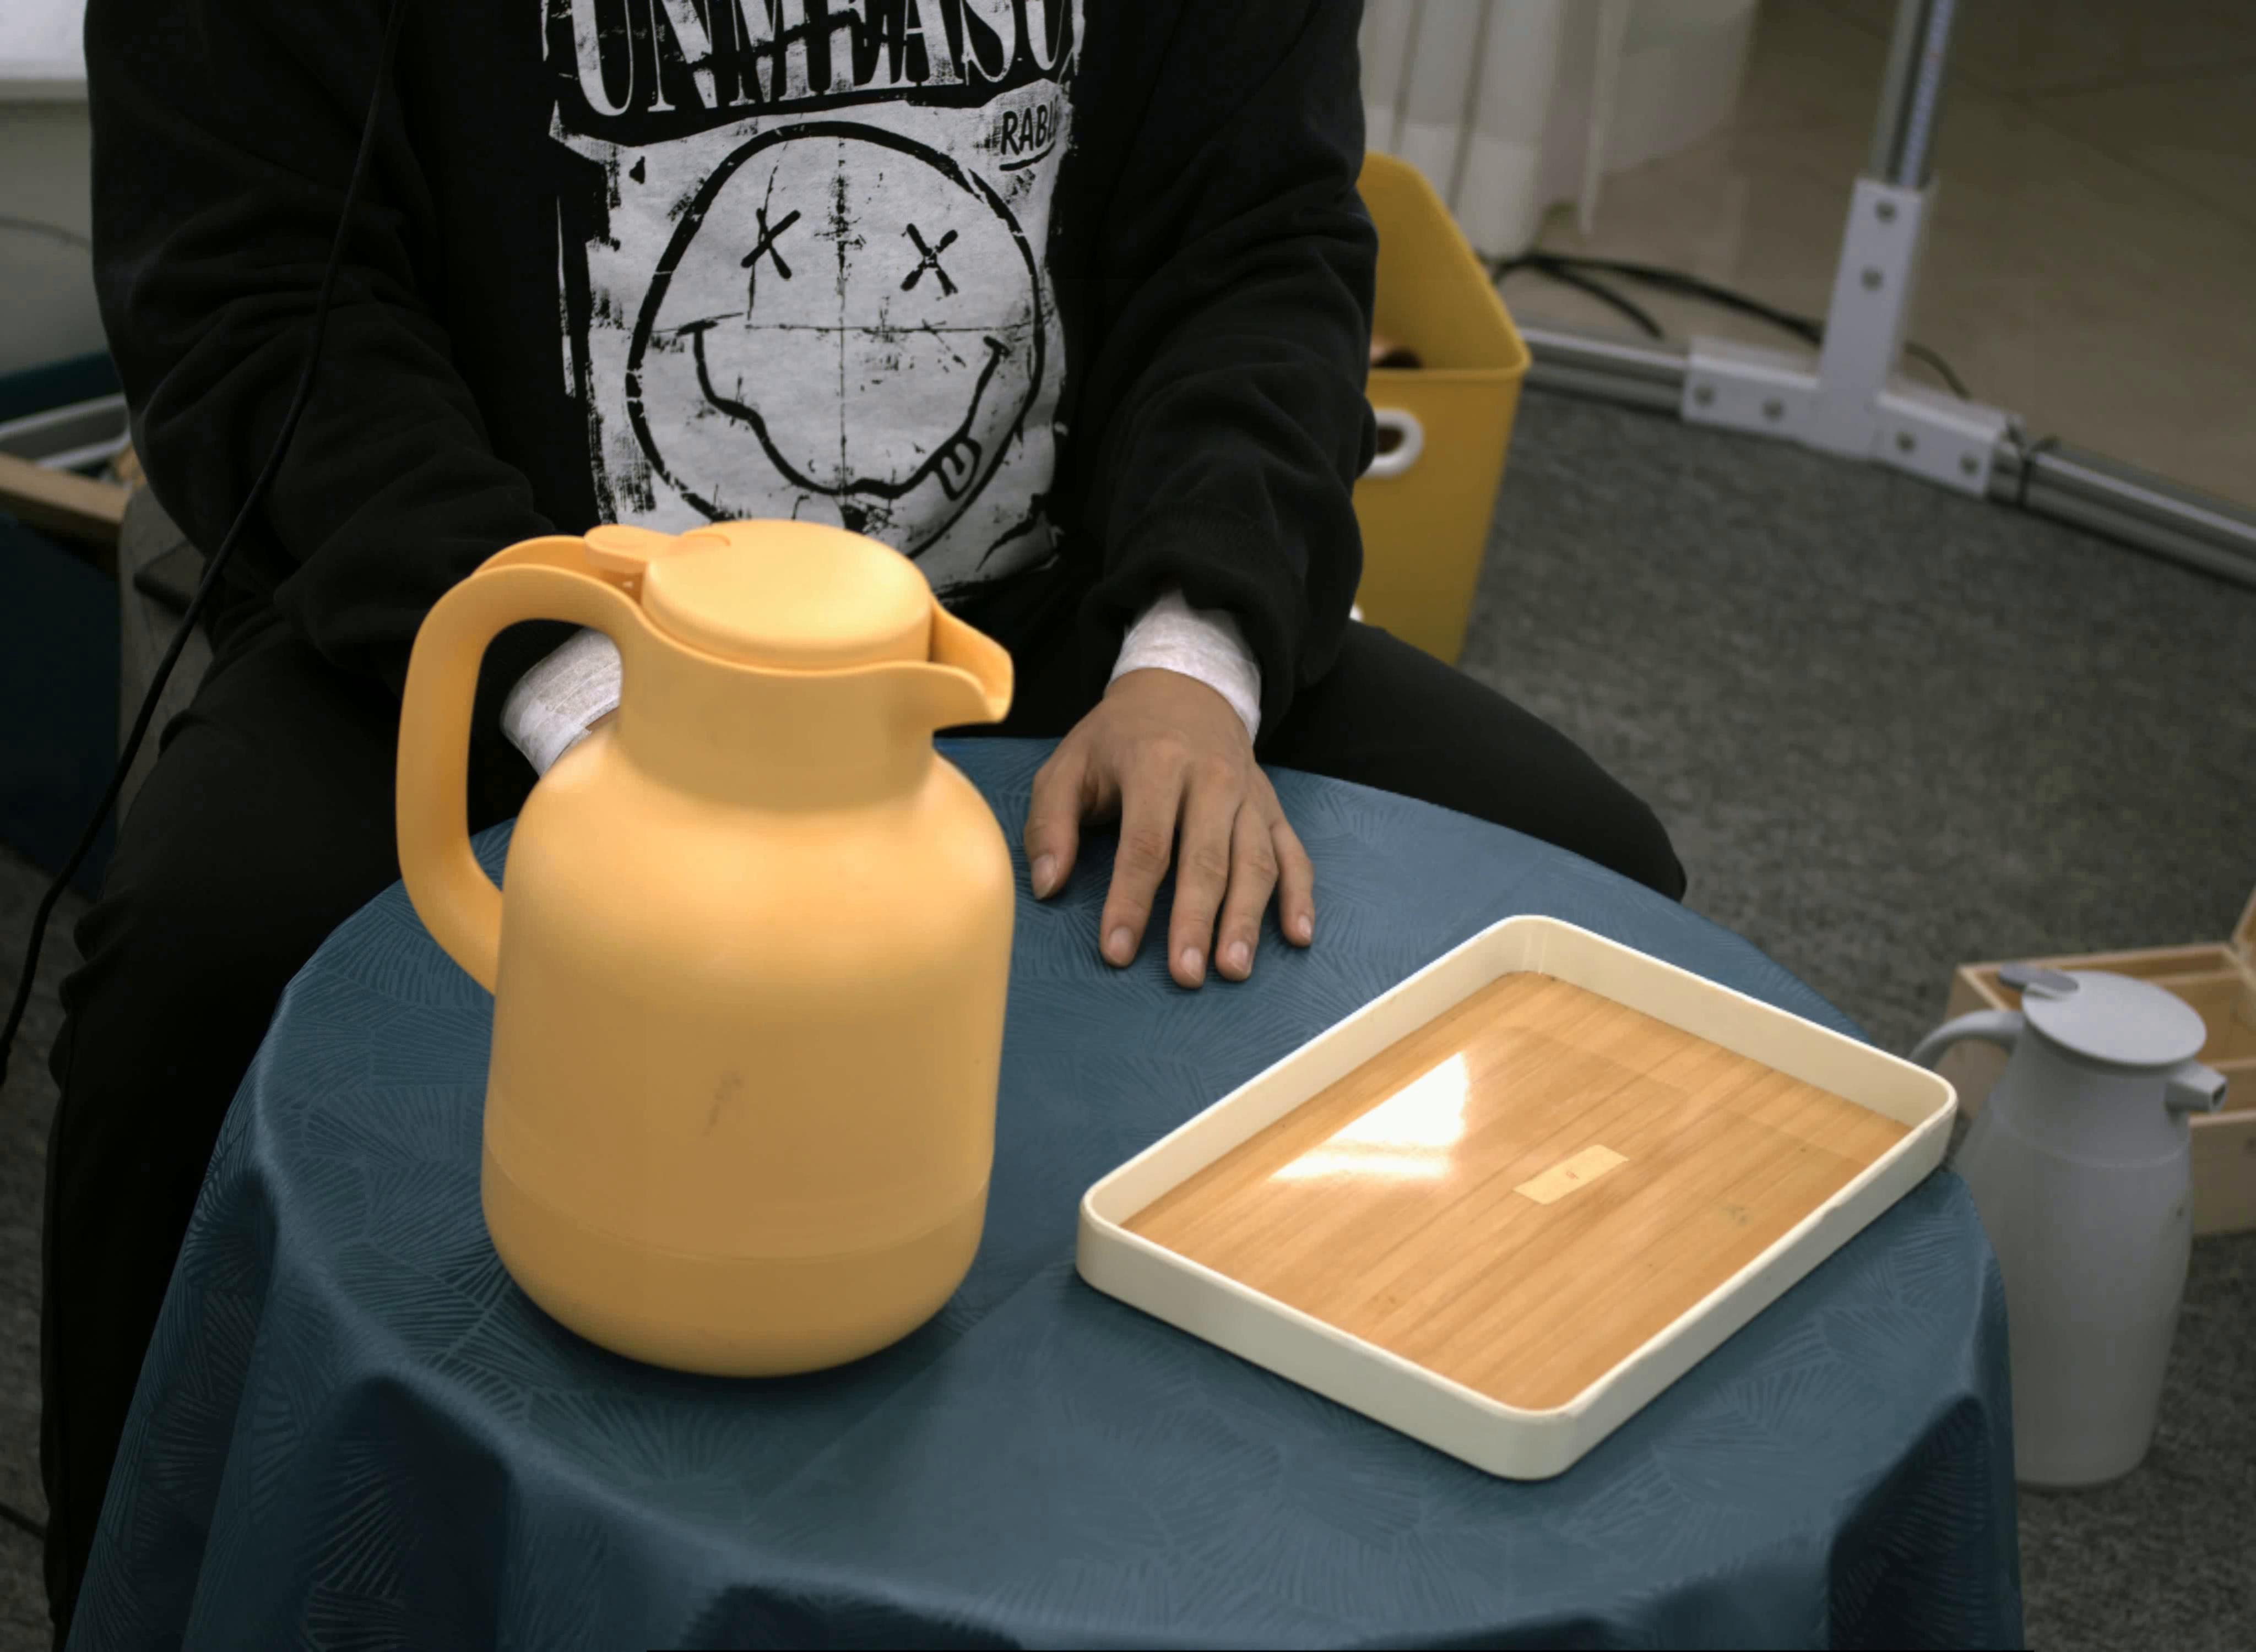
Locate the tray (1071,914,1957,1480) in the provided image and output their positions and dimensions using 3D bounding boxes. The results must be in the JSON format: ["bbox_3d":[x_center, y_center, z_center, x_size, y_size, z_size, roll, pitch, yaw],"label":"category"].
[{"bbox_3d":[0.136,0.120,1.814,0.193,0.027,0.299,23,31,28],"label":"tray"}]

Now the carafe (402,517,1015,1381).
[{"bbox_3d":[-0.135,0.028,1.678,0.203,0.260,0.163,16,26,17],"label":"carafe"}]
